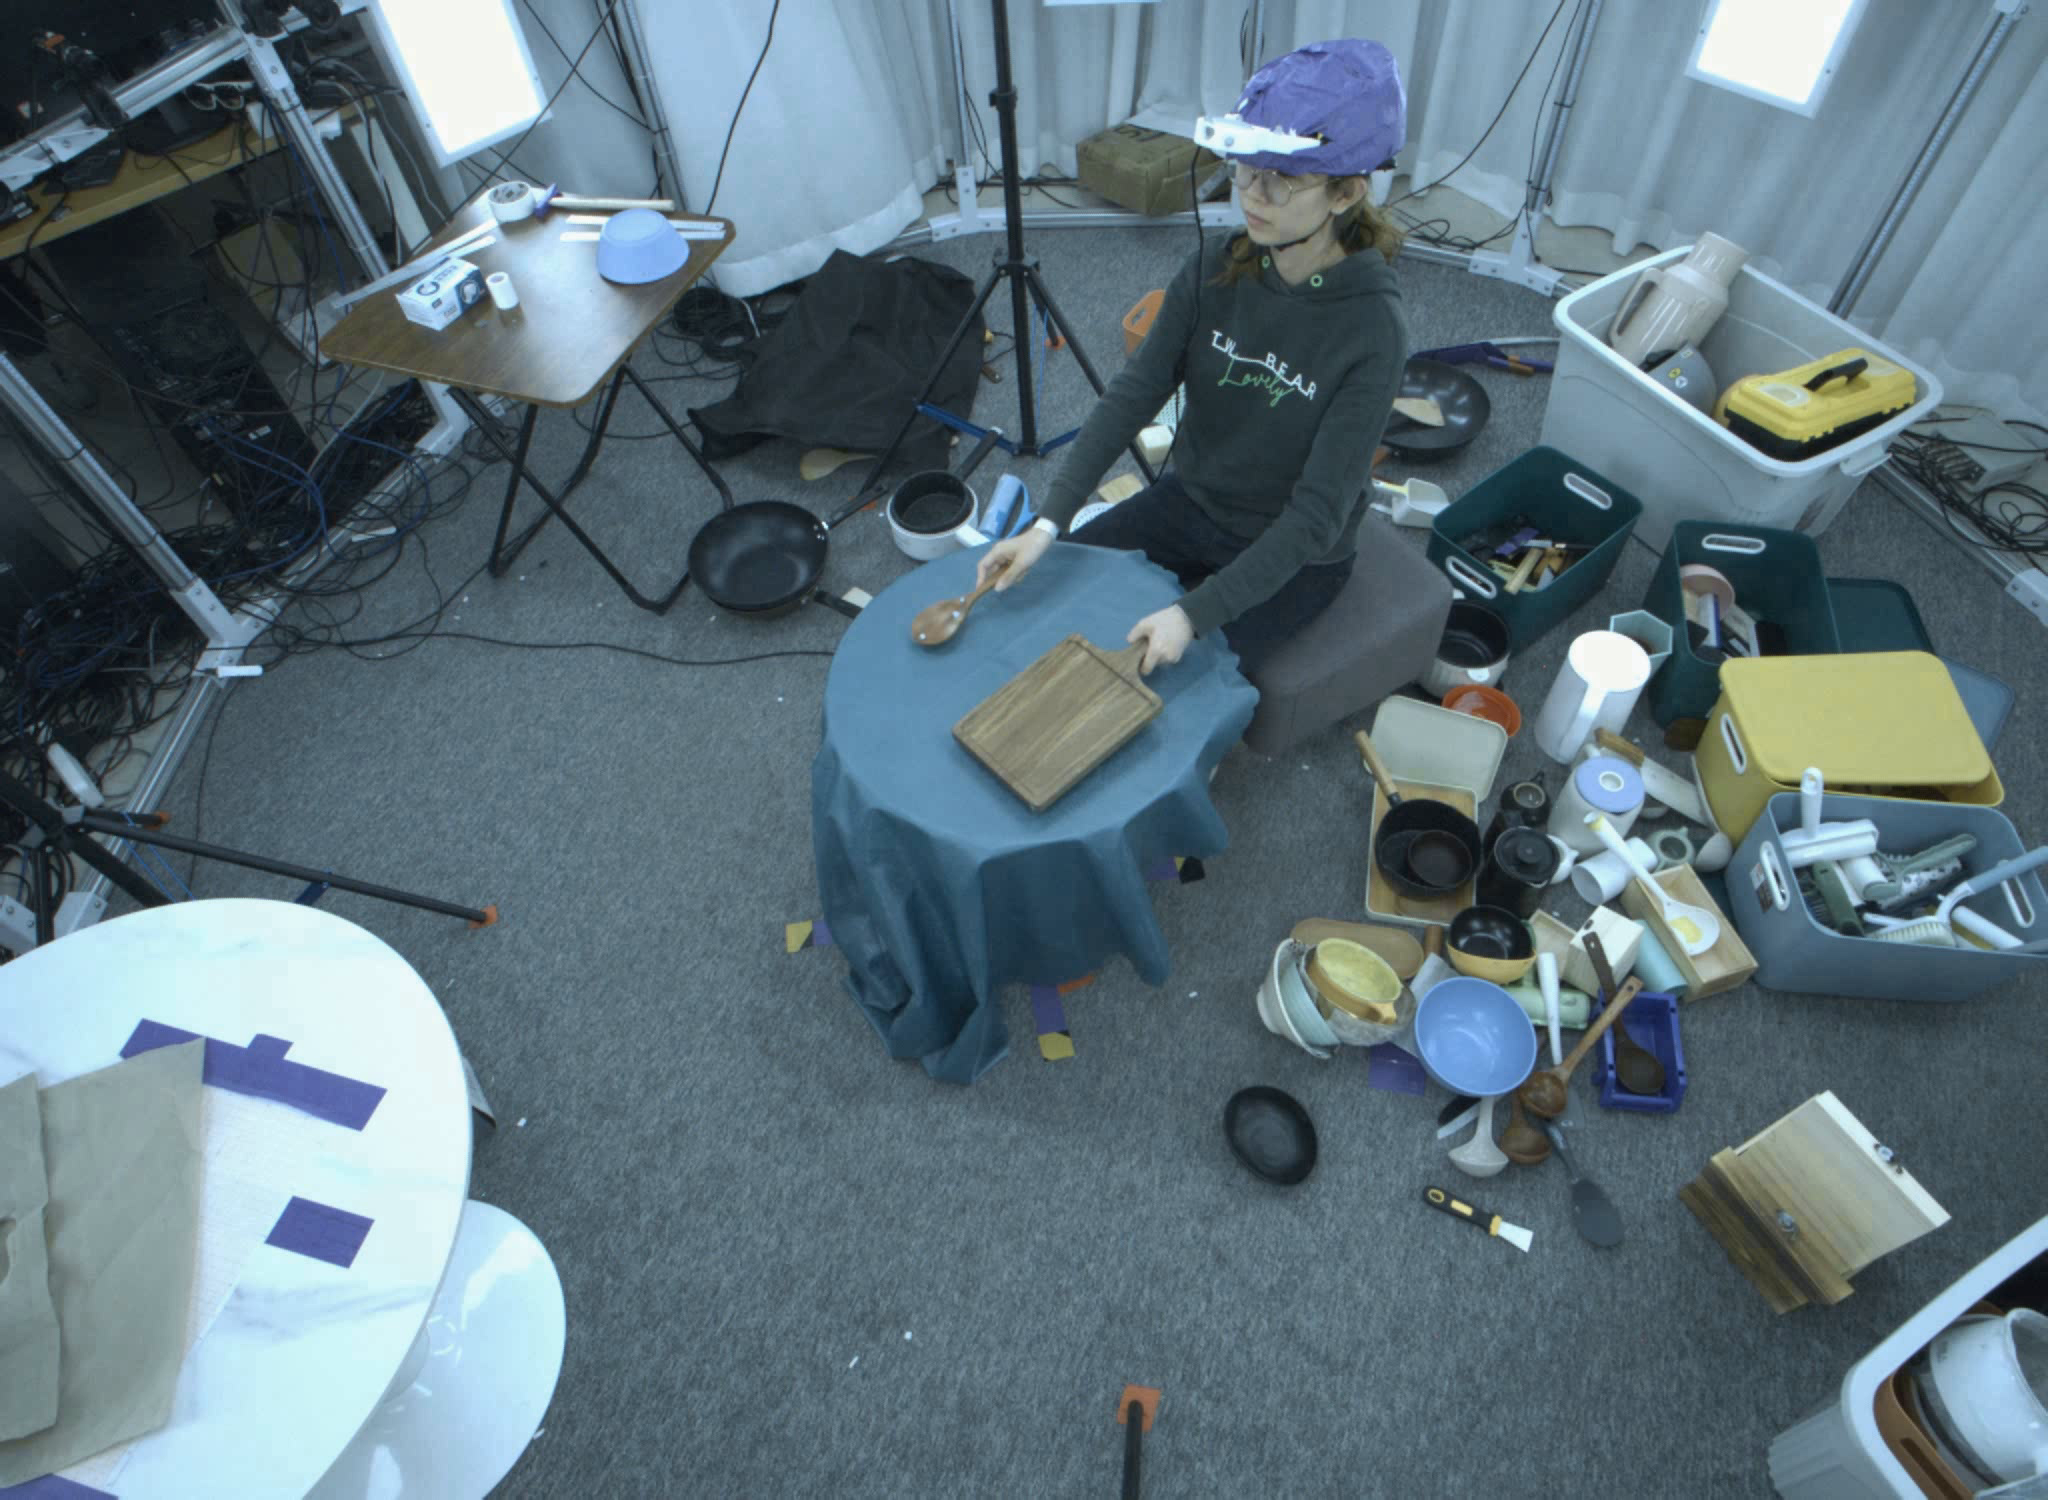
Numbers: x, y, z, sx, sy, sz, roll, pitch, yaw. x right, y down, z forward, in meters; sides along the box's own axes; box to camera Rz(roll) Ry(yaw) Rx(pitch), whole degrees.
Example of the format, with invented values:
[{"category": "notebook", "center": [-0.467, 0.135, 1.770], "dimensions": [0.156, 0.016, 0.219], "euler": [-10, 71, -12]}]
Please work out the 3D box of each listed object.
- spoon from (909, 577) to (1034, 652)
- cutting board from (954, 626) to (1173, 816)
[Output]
[{"category": "spoon", "center": [-0.081, -0.214, 1.917], "dimensions": [0.217, 0.017, 0.074], "euler": [-29, 62, -9]}, {"category": "cutting board", "center": [0.088, -0.069, 1.796], "dimensions": [0.354, 0.023, 0.197], "euler": [-39, 60, -17]}]
